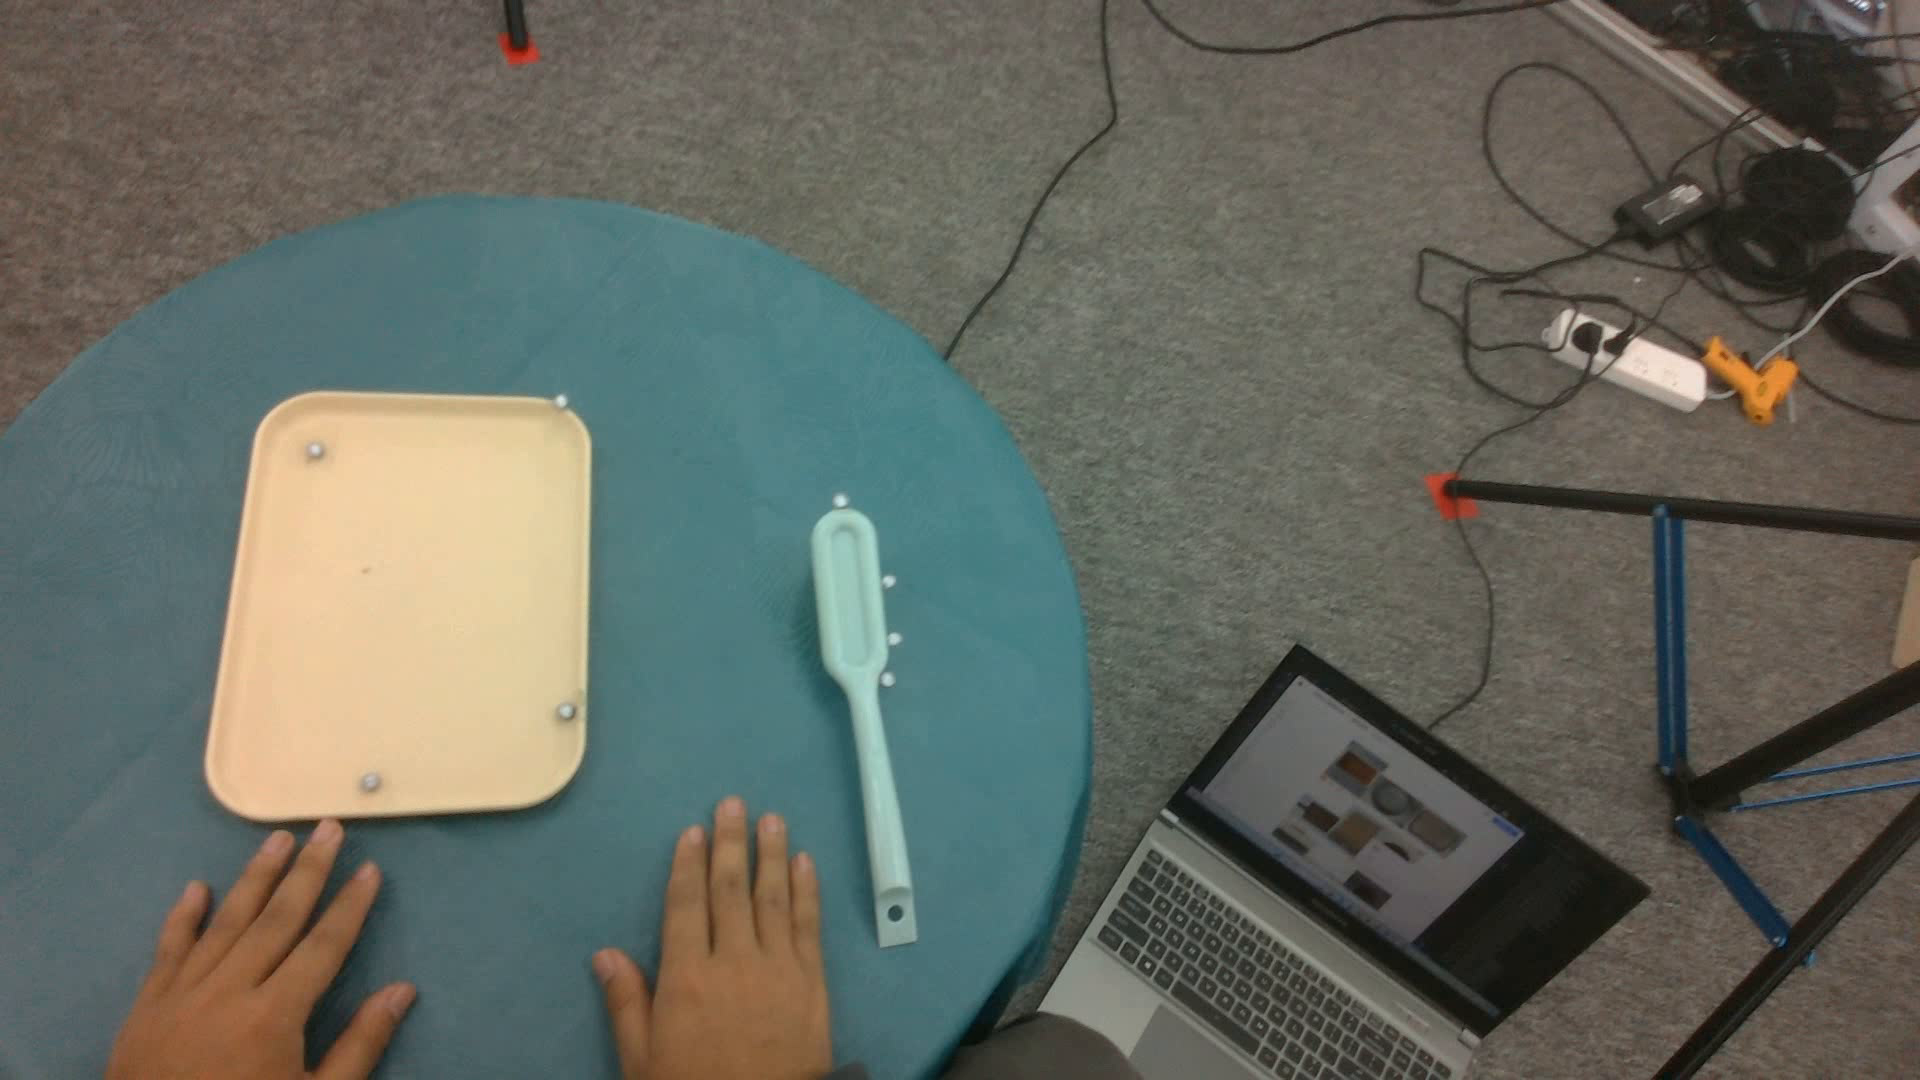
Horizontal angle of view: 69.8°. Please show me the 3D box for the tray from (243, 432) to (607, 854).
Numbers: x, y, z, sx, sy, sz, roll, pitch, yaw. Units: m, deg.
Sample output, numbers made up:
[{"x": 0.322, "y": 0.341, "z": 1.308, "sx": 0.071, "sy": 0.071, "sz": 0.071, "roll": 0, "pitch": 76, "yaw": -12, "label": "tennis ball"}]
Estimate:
[{"x": -0.279, "y": 0.046, "z": 0.730, "sx": 0.171, "sy": 0.017, "sz": 0.240, "roll": -3, "pitch": 60, "yaw": -14, "label": "tray"}]

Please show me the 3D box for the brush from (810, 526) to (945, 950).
[{"x": -0.043, "y": 0.104, "z": 0.742, "sx": 0.038, "sy": 0.049, "sz": 0.229, "roll": -11, "pitch": 70, "yaw": -12, "label": "brush"}]
